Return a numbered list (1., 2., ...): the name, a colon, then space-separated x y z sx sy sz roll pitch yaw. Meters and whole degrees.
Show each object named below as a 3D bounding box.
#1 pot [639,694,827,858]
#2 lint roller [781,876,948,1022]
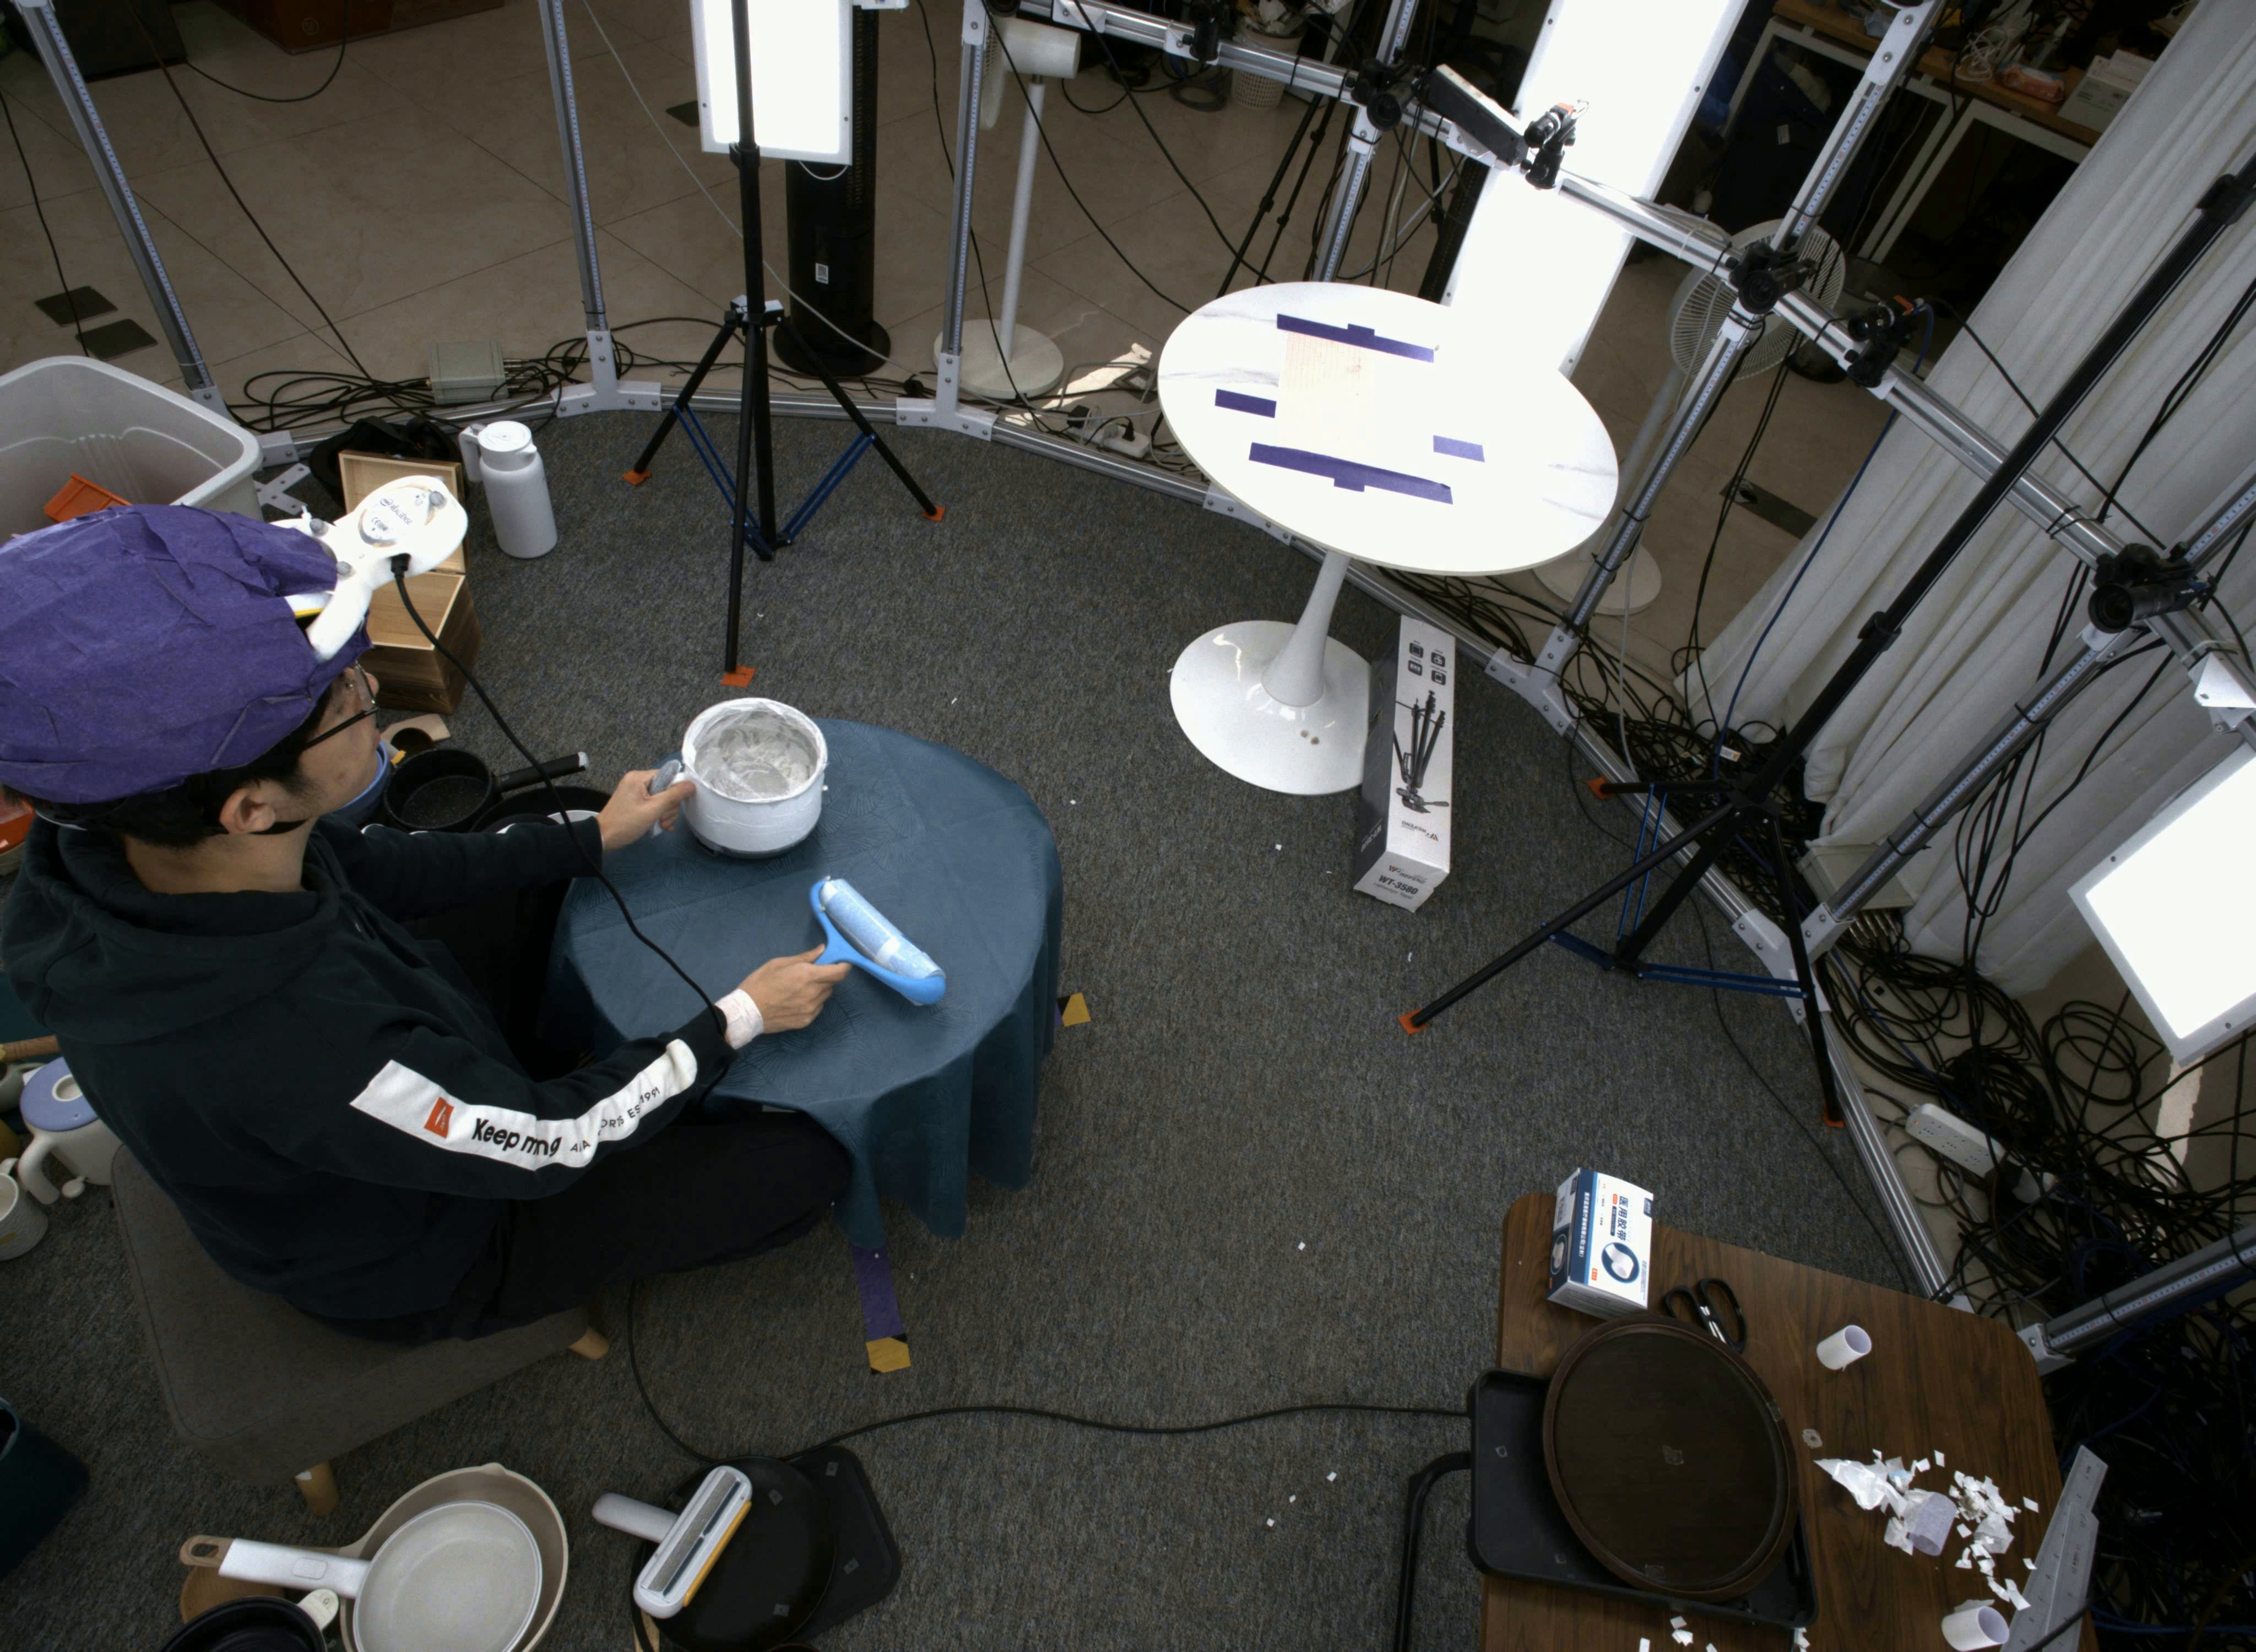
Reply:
1. pot: -0.506 -0.054 1.647 0.236 0.139 0.174 -15 58 -32
2. lint roller: -0.345 0.165 1.572 0.223 0.069 0.180 36 51 18
